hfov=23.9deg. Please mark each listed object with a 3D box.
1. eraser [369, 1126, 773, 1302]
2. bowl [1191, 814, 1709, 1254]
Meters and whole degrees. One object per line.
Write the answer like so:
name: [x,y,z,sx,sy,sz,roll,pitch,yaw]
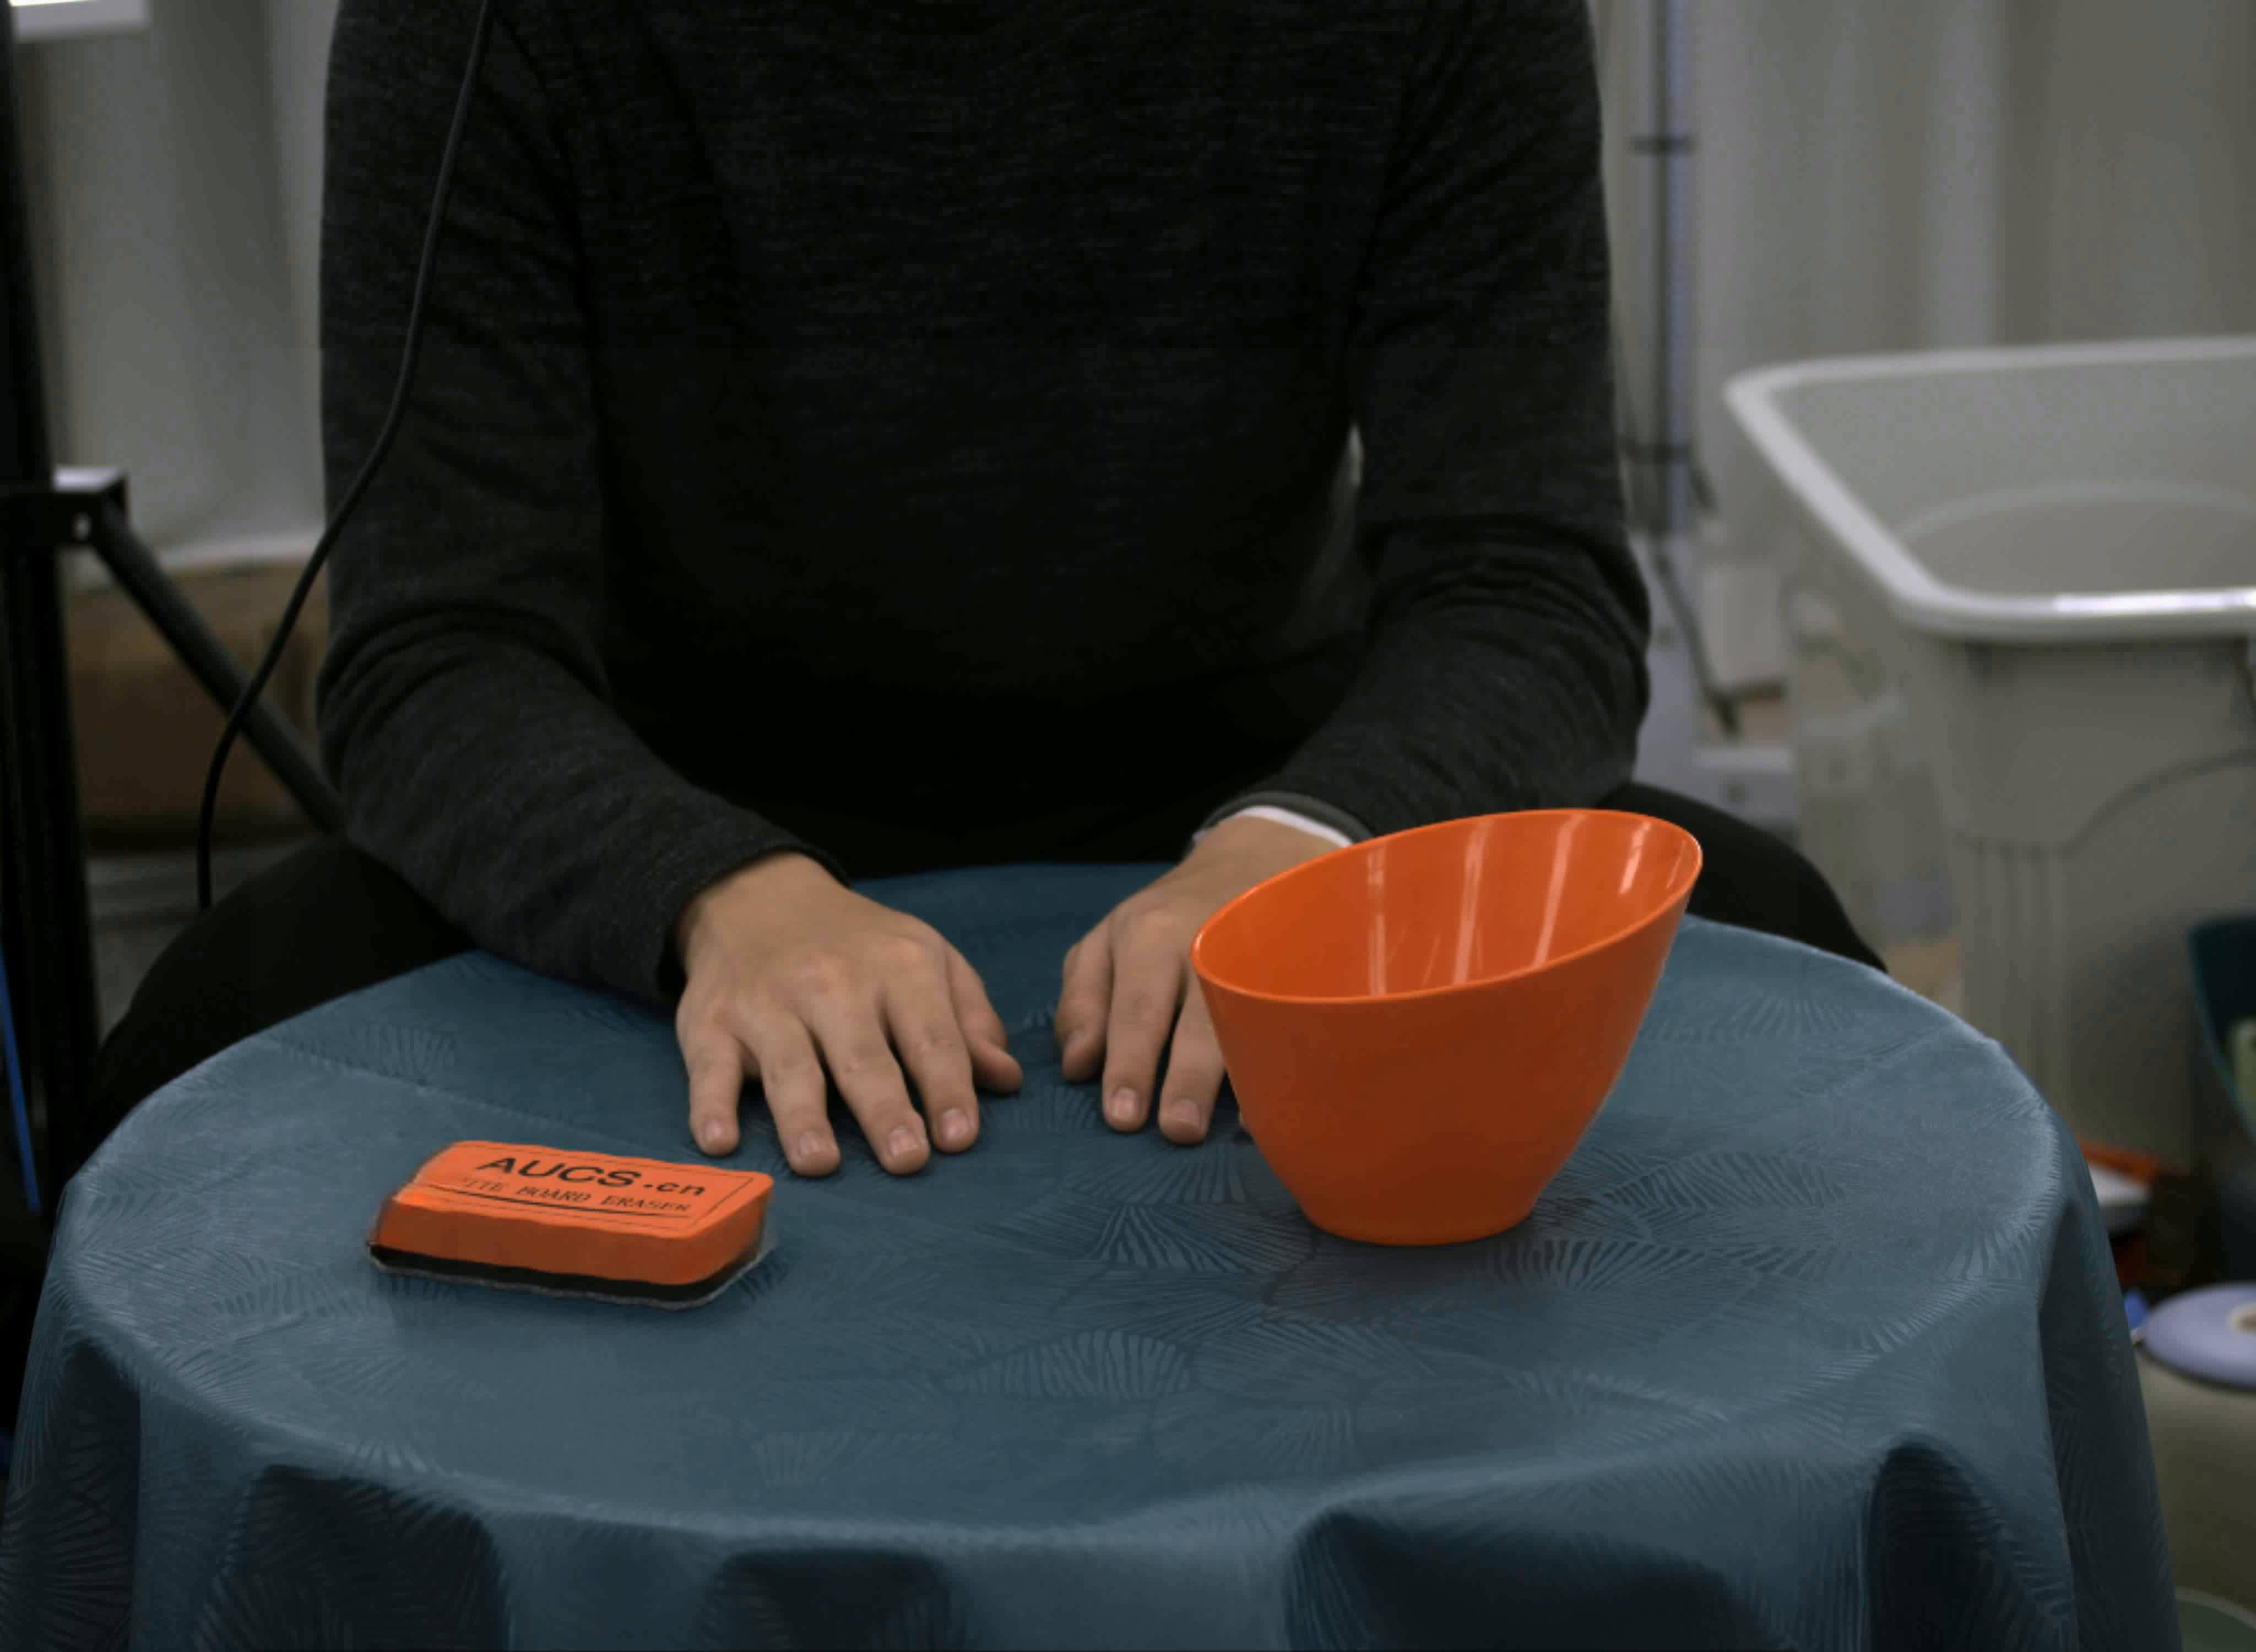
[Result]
eraser: [-0.158,0.110,1.521,0.109,0.023,0.058,6,20,24]
bowl: [0.093,0.062,1.518,0.147,0.104,0.149,-3,16,-1]
